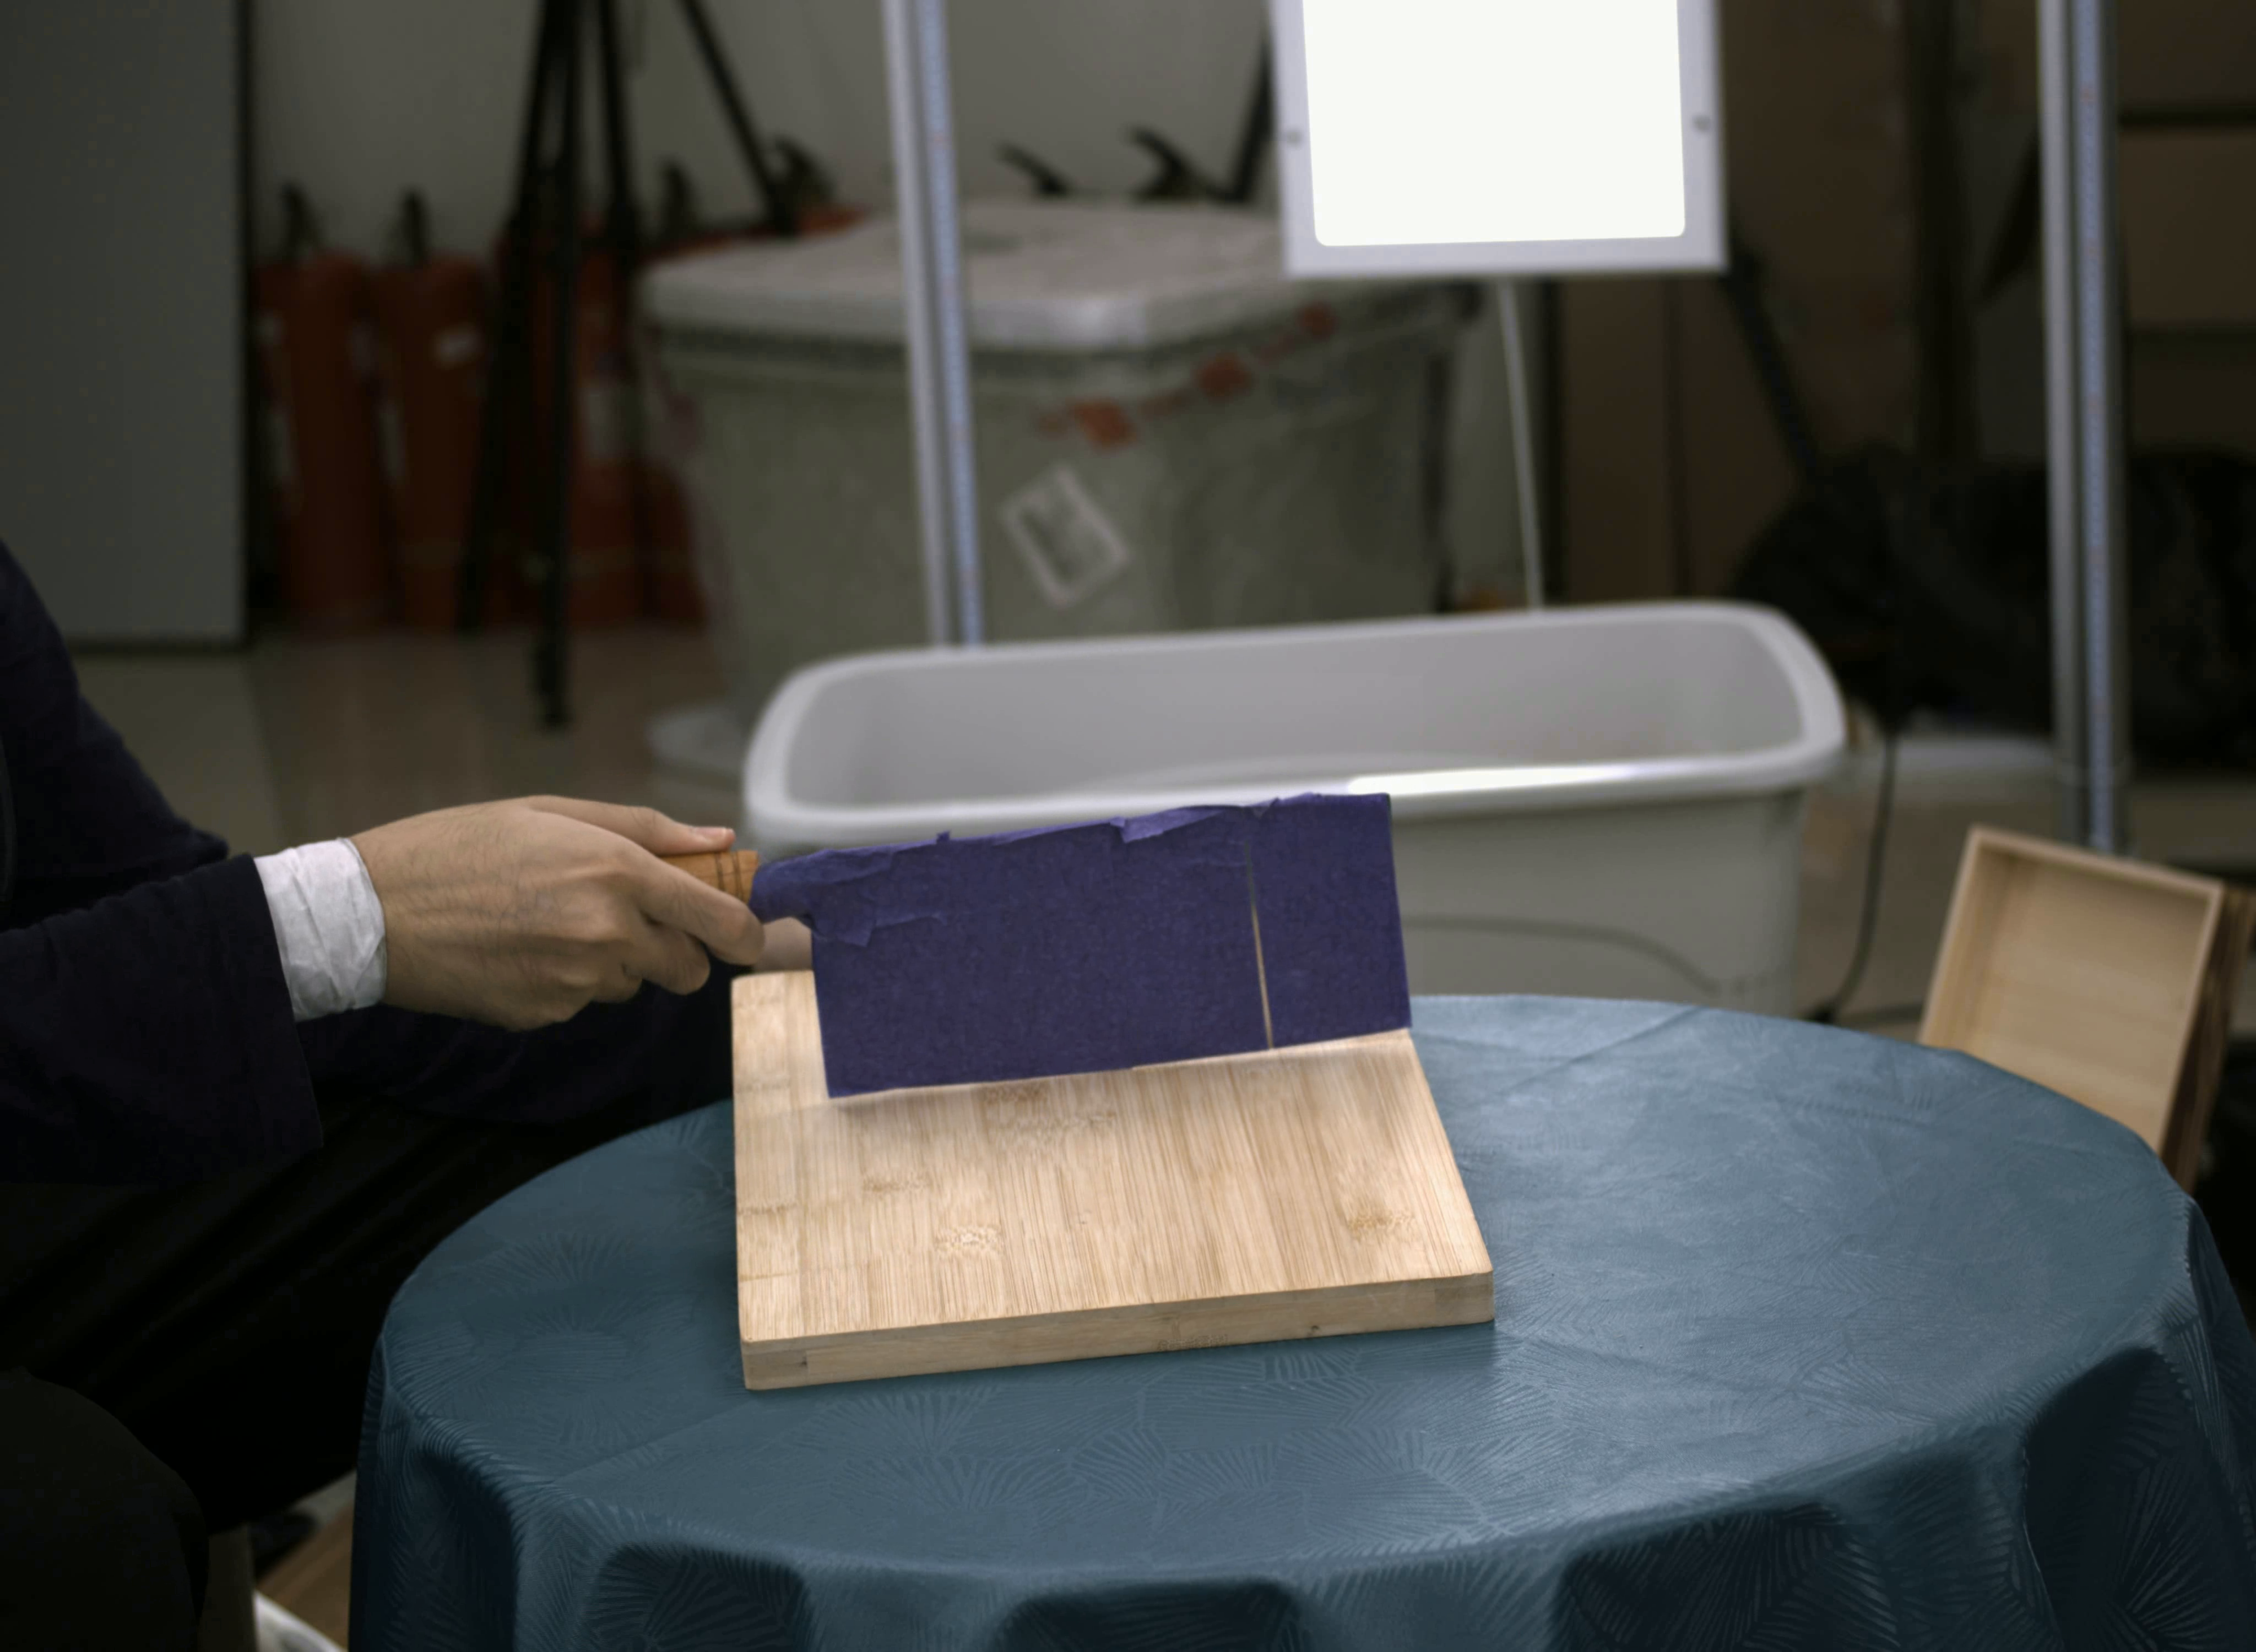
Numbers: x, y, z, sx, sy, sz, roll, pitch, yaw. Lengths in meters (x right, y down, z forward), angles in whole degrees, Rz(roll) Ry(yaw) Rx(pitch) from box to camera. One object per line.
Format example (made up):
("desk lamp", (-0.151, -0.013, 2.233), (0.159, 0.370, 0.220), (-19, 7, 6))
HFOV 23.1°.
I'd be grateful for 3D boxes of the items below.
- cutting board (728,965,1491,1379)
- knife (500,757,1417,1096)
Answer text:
("cutting board", (-0.014, 0.105, 1.899), (0.250, 0.023, 0.348), (-6, 18, -2))
("knife", (-0.056, 0.045, 1.906), (0.314, 0.104, 0.032), (-7, 15, 1))
